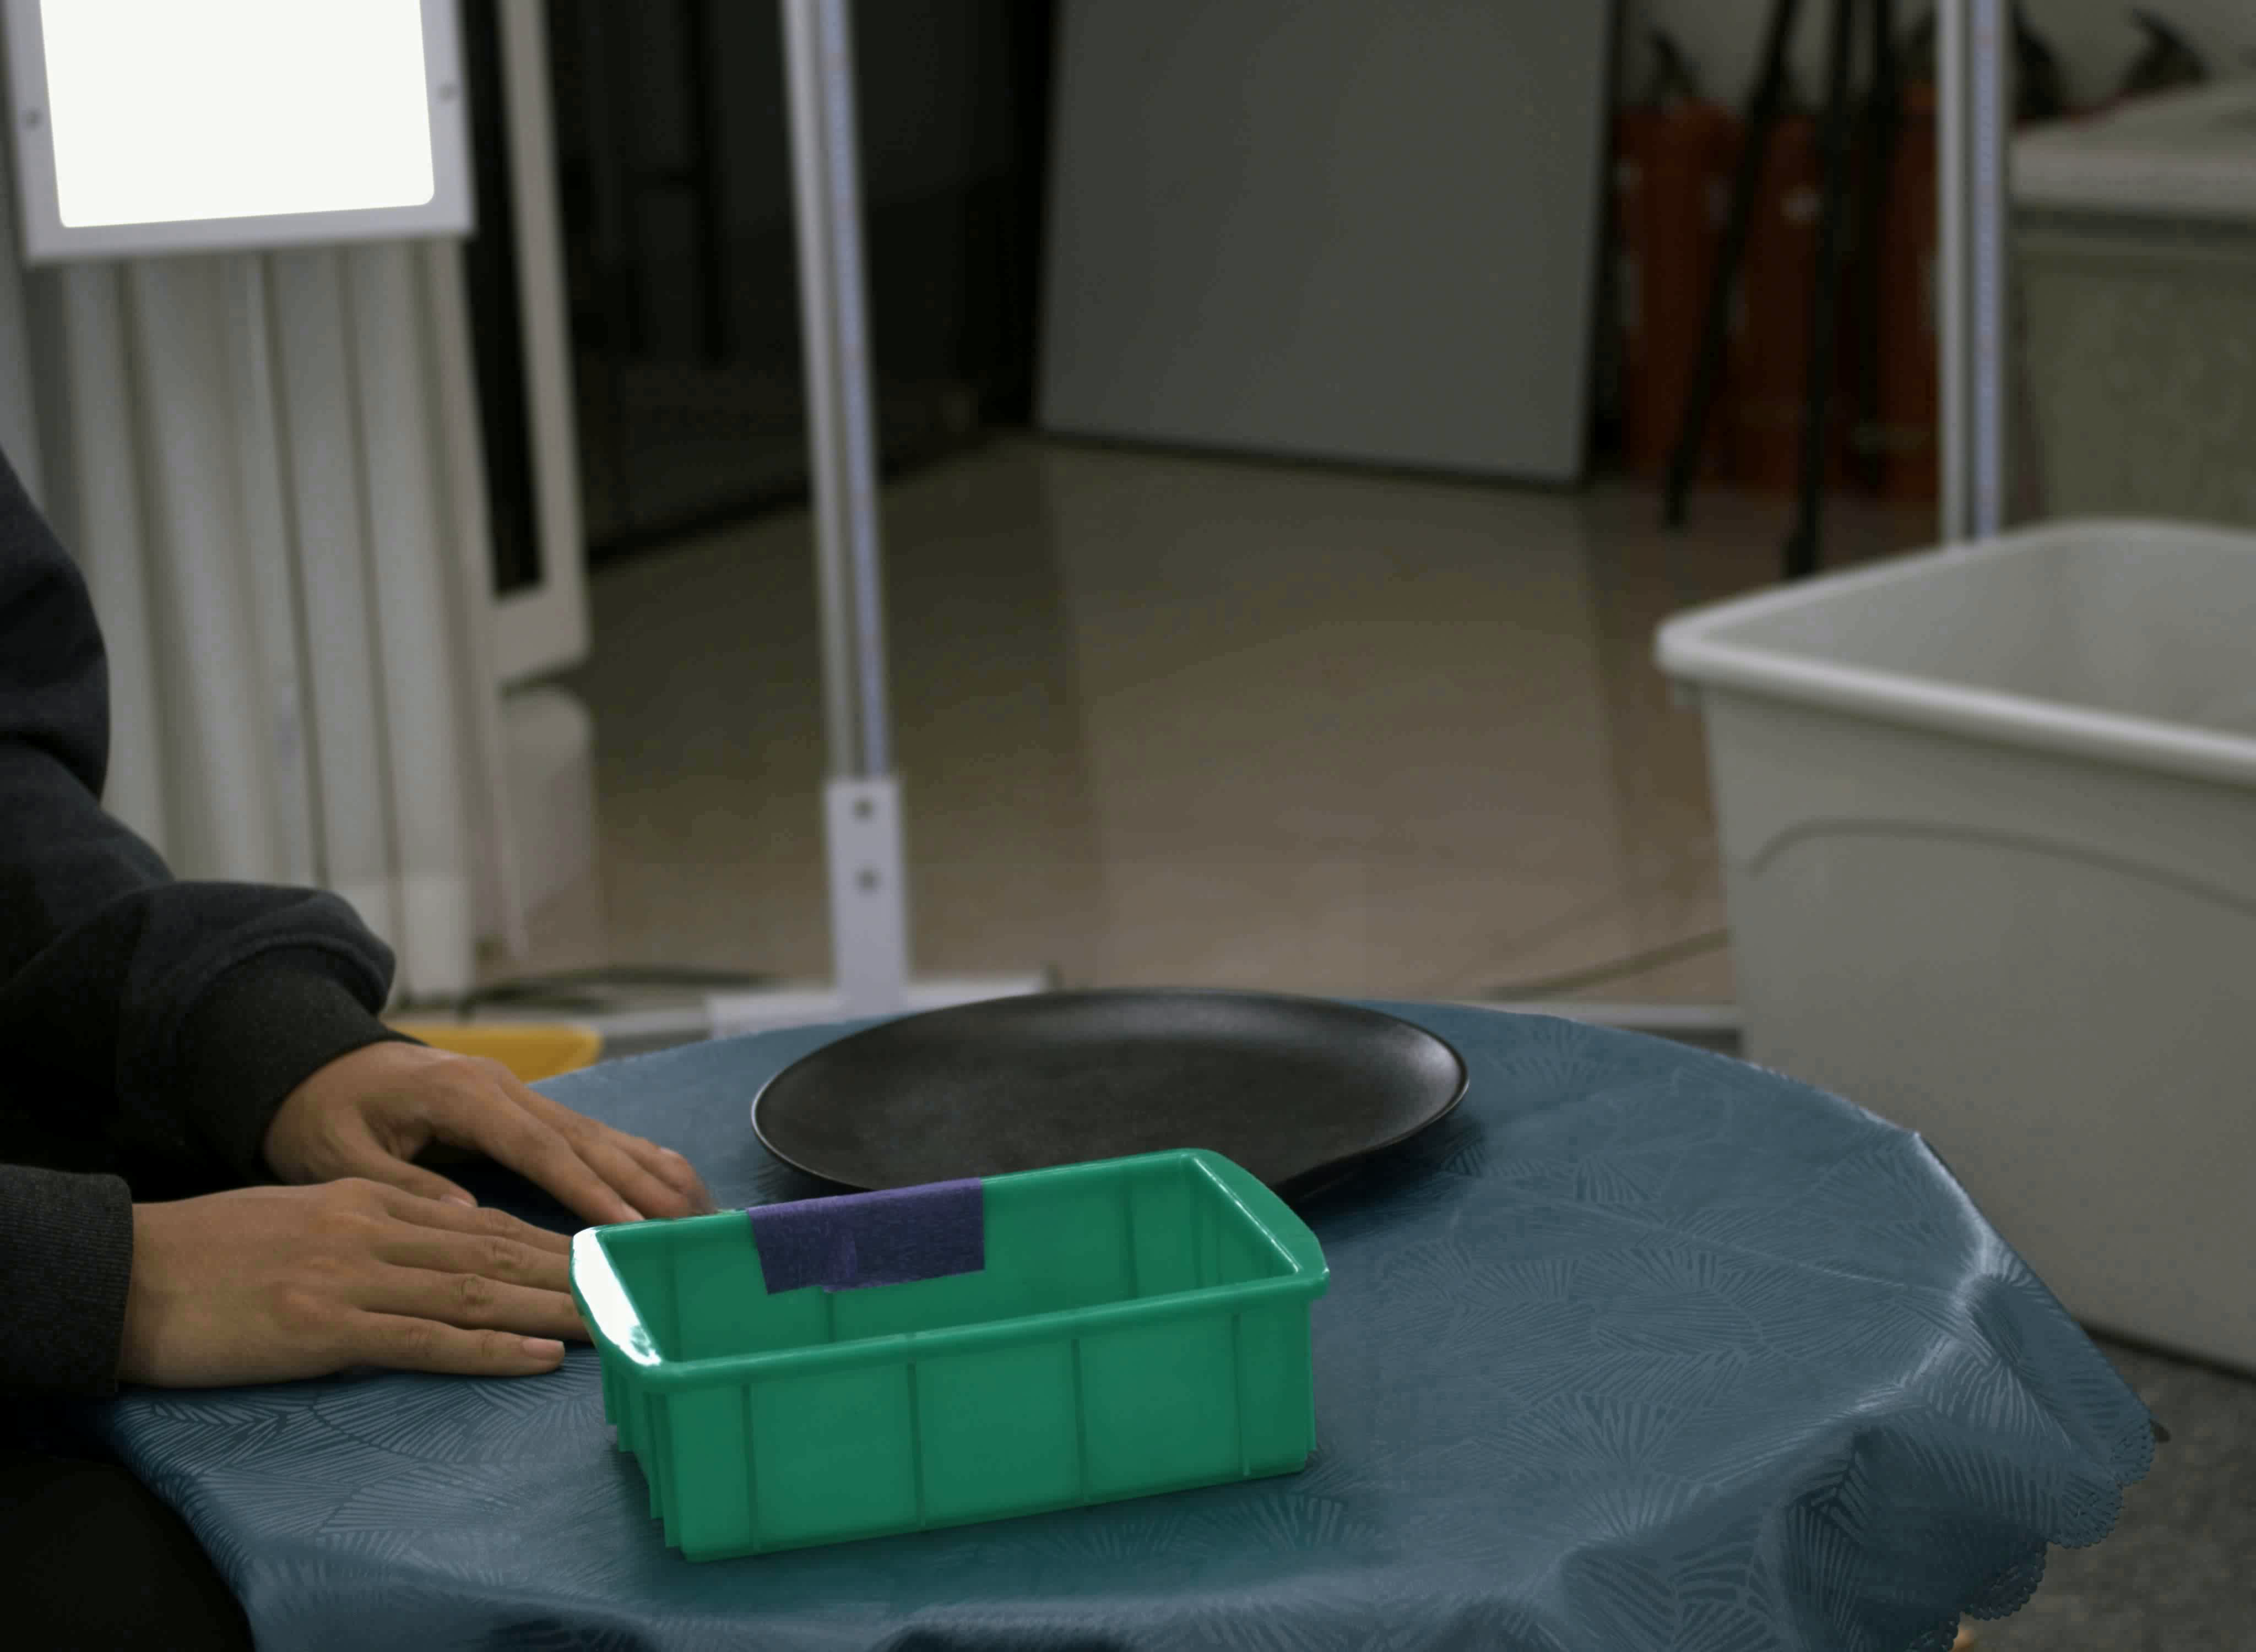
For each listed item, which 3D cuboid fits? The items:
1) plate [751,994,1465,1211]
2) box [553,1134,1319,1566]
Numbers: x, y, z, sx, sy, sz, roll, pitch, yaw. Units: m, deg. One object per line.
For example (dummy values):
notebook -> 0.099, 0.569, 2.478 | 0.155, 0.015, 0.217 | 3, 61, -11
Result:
plate -> -0.006, 0.099, 1.812 | 0.241, 0.024, 0.245 | -4, 14, 0
box -> -0.054, 0.148, 1.536 | 0.206, 0.066, 0.139 | -9, 13, -13
